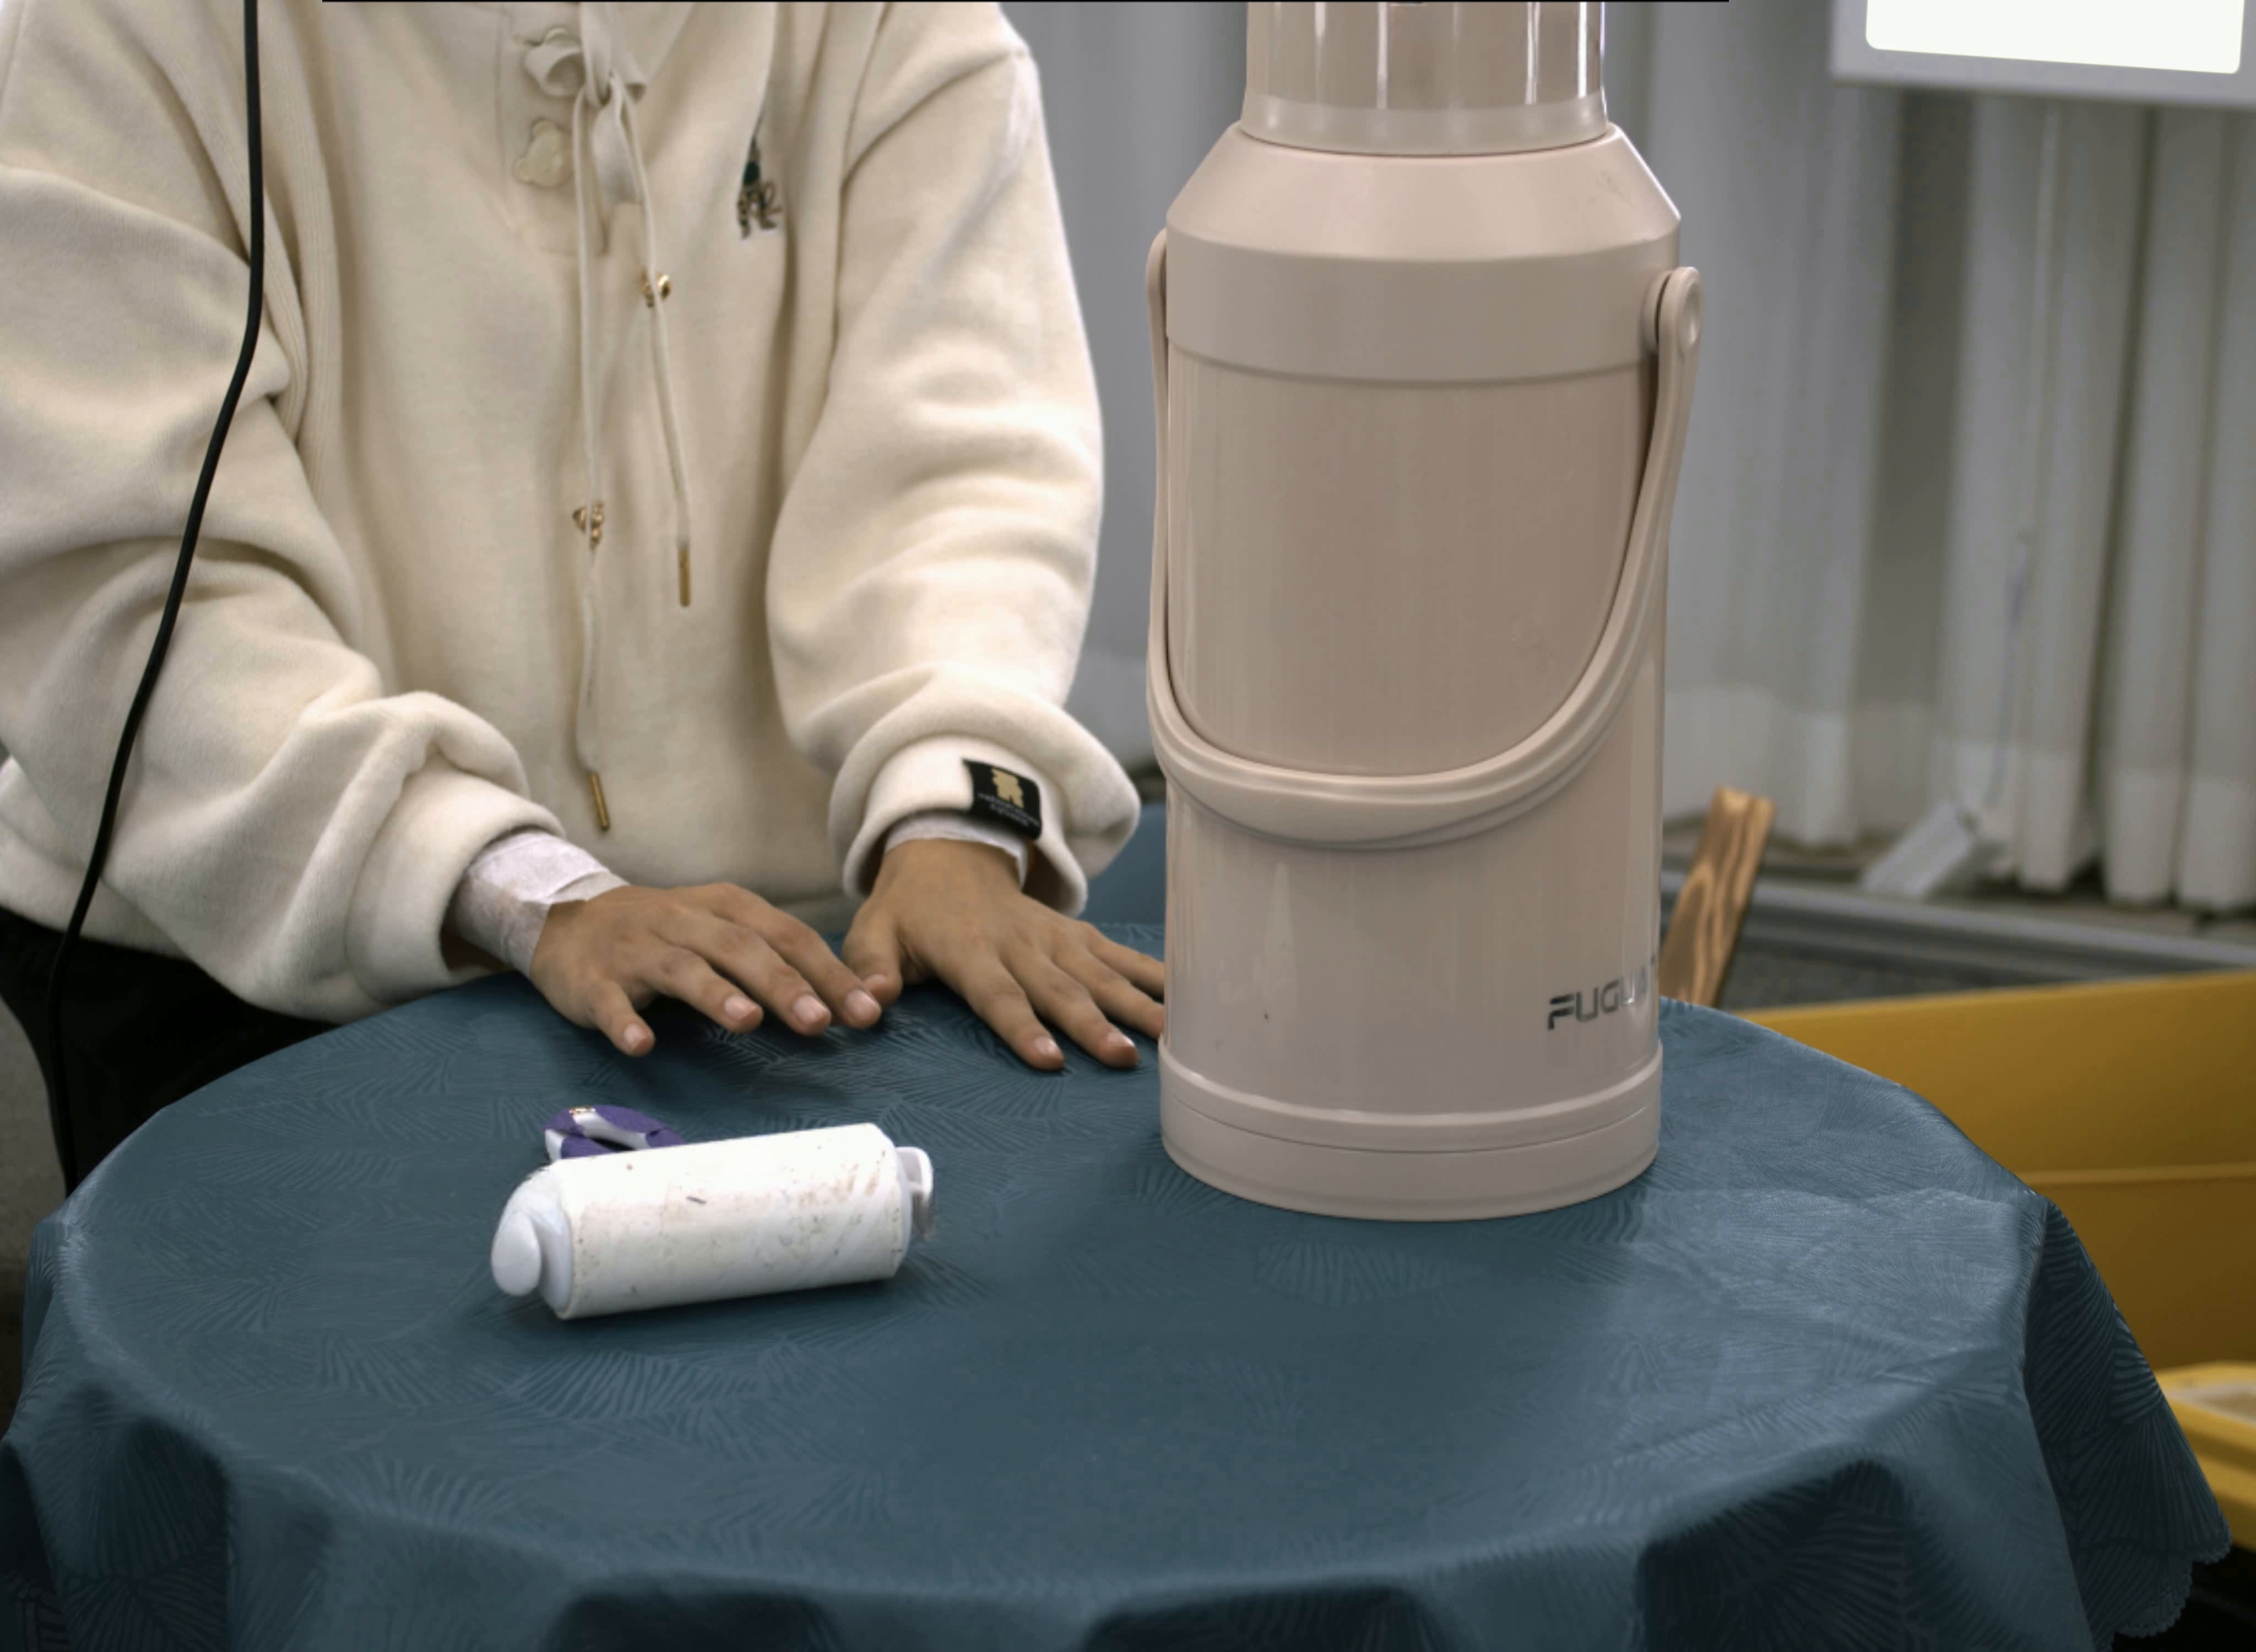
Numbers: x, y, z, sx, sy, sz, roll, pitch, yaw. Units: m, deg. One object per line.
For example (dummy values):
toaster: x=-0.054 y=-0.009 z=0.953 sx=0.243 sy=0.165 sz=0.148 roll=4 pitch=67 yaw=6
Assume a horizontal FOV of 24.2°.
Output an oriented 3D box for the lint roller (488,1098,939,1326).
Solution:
lint roller: x=-0.139 y=0.097 z=1.581 sx=0.133 sy=0.050 sz=0.179 roll=-6 pitch=19 yaw=-18

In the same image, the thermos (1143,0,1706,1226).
thermos: x=0.096 y=-0.094 z=1.625 sx=0.173 sy=0.409 sz=0.207 roll=7 pitch=17 yaw=25
